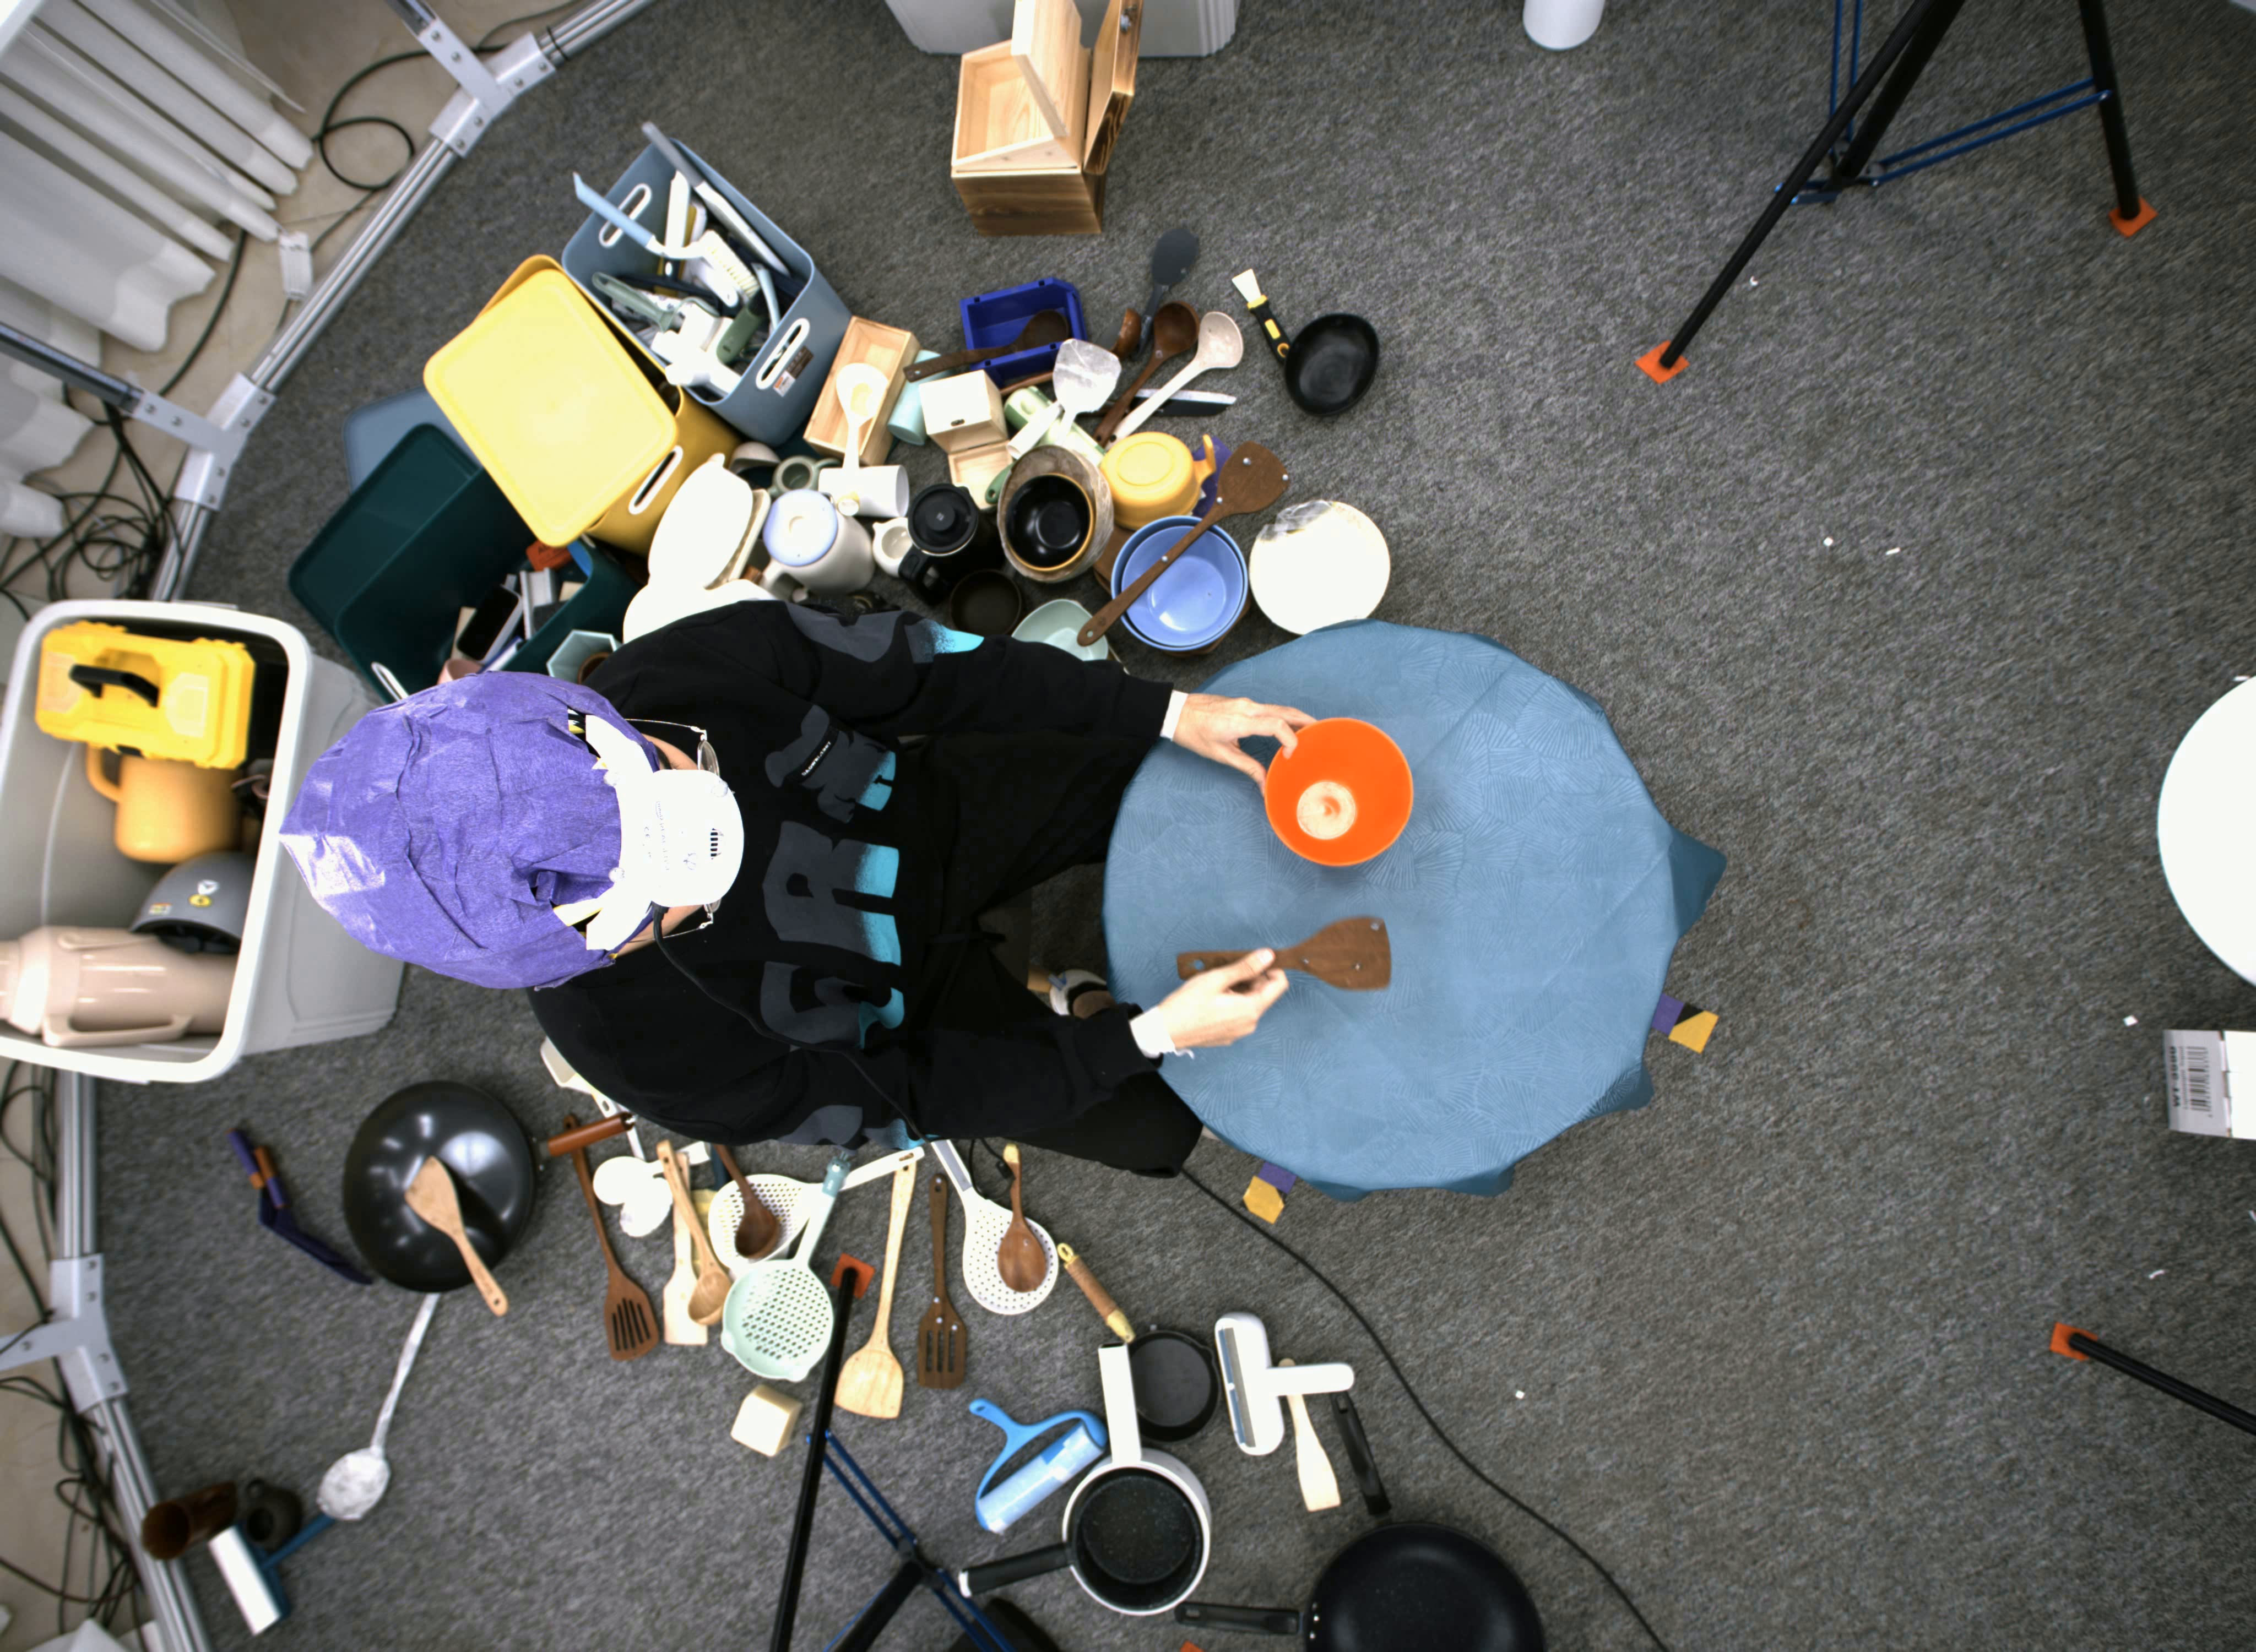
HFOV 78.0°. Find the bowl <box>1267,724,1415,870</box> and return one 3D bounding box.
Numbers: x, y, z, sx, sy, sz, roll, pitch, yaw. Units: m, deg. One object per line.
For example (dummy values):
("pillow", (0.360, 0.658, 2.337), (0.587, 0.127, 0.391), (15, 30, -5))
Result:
("bowl", (0.219, -0.026, 1.429), (0.148, 0.105, 0.147), (-1, 86, 8))

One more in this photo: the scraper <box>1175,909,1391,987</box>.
("scraper", (0.151, 0.127, 1.363), (0.212, 0.011, 0.075), (-6, 85, 10))
